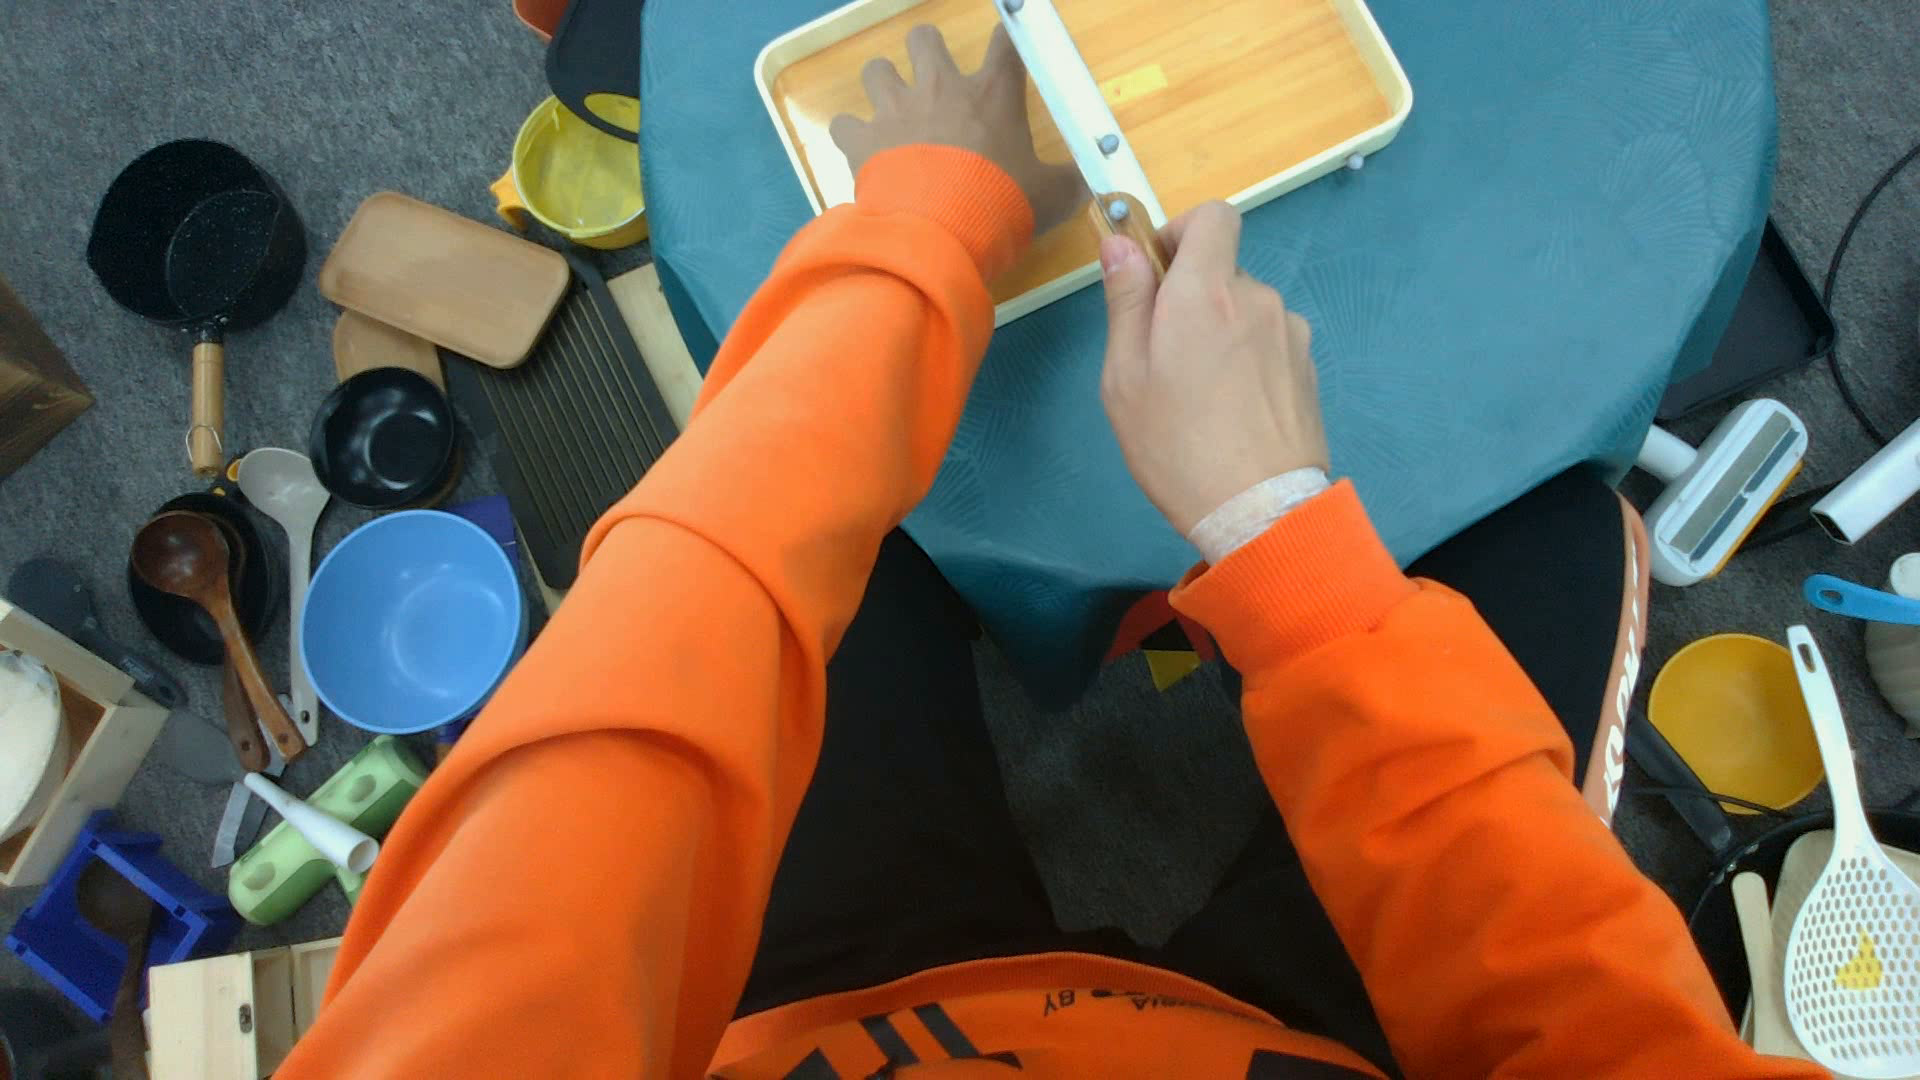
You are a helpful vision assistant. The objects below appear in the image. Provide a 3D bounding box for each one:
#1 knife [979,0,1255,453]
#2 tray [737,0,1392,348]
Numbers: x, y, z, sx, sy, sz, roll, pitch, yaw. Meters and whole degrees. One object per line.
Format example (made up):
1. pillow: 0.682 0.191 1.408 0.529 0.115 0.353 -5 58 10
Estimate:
1. knife: 0.054 -0.176 0.604 0.021 0.093 0.306 -30 82 25
2. tray: 0.051 -0.241 0.724 0.300 0.027 0.192 -25 78 -1
